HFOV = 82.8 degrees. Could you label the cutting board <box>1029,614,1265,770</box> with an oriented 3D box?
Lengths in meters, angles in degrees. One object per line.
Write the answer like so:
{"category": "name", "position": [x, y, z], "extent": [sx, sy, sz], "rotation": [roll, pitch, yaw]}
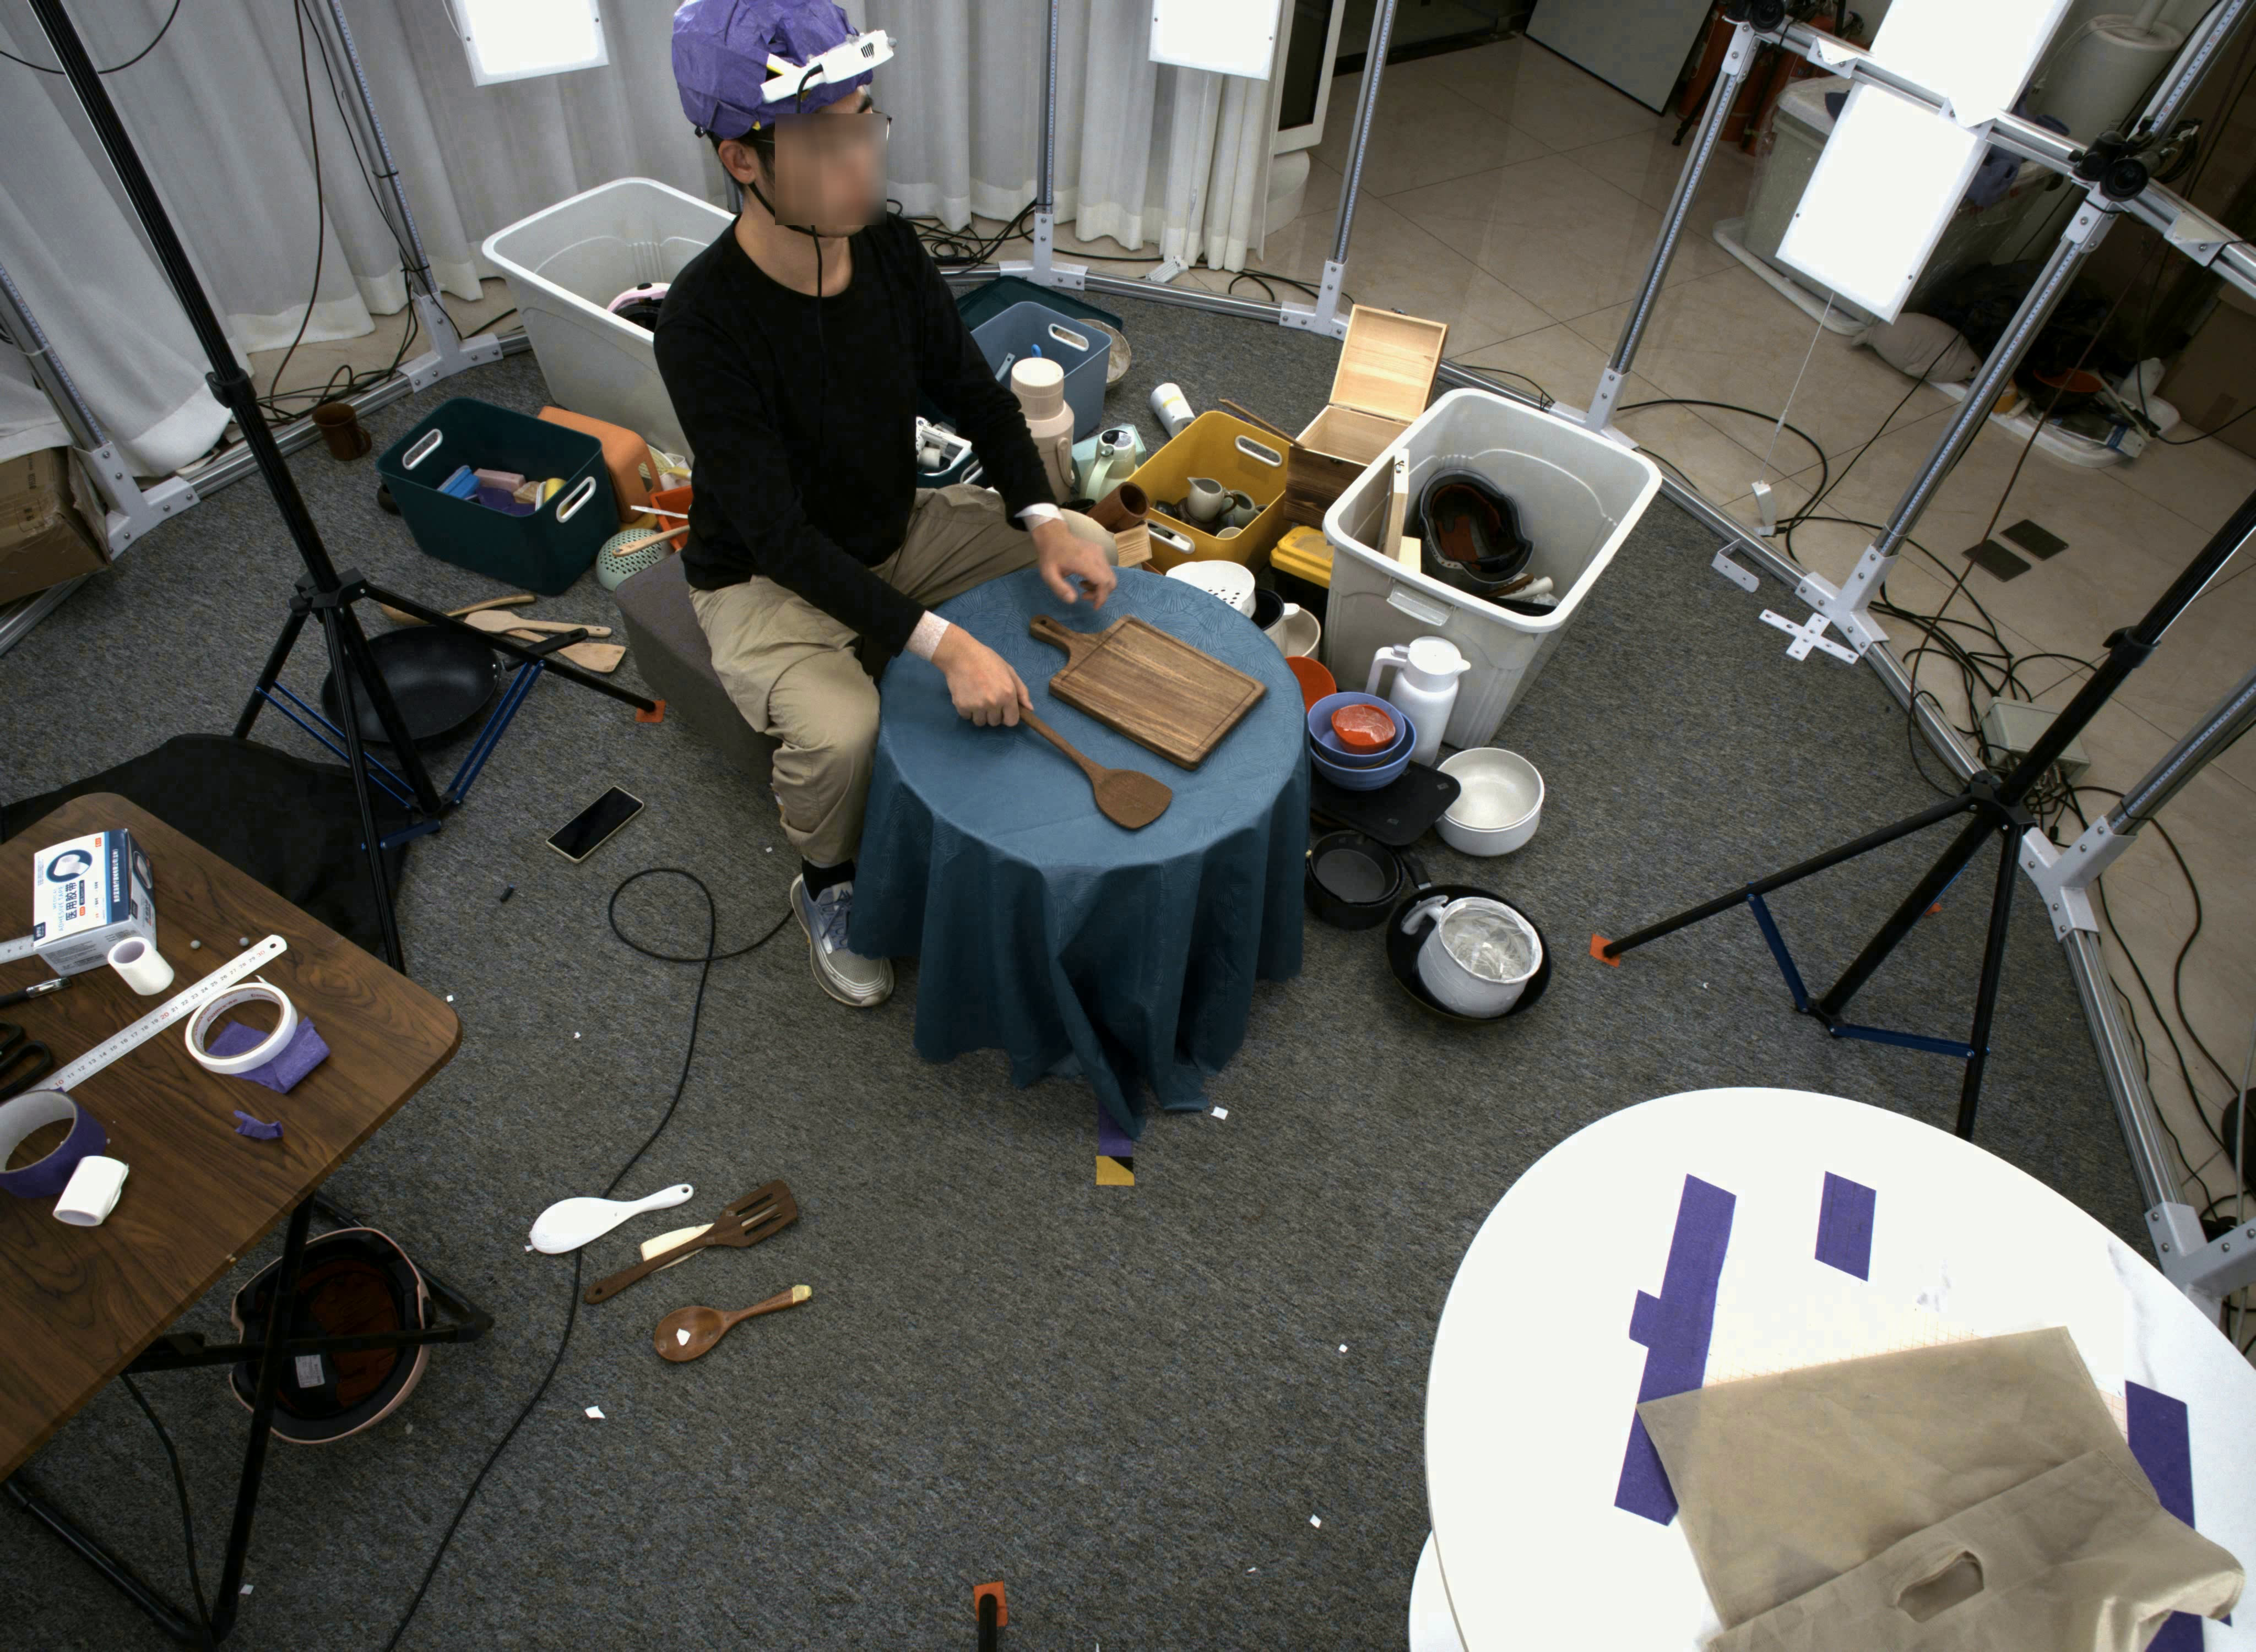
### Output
{"category": "cutting board", "position": [0.002, -0.221, 1.848], "extent": [0.356, 0.022, 0.204], "rotation": [30, 53, 20]}

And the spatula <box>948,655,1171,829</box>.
{"category": "spatula", "position": [-0.106, -0.125, 1.744], "extent": [0.390, 0.015, 0.097], "rotation": [39, 55, 19]}
